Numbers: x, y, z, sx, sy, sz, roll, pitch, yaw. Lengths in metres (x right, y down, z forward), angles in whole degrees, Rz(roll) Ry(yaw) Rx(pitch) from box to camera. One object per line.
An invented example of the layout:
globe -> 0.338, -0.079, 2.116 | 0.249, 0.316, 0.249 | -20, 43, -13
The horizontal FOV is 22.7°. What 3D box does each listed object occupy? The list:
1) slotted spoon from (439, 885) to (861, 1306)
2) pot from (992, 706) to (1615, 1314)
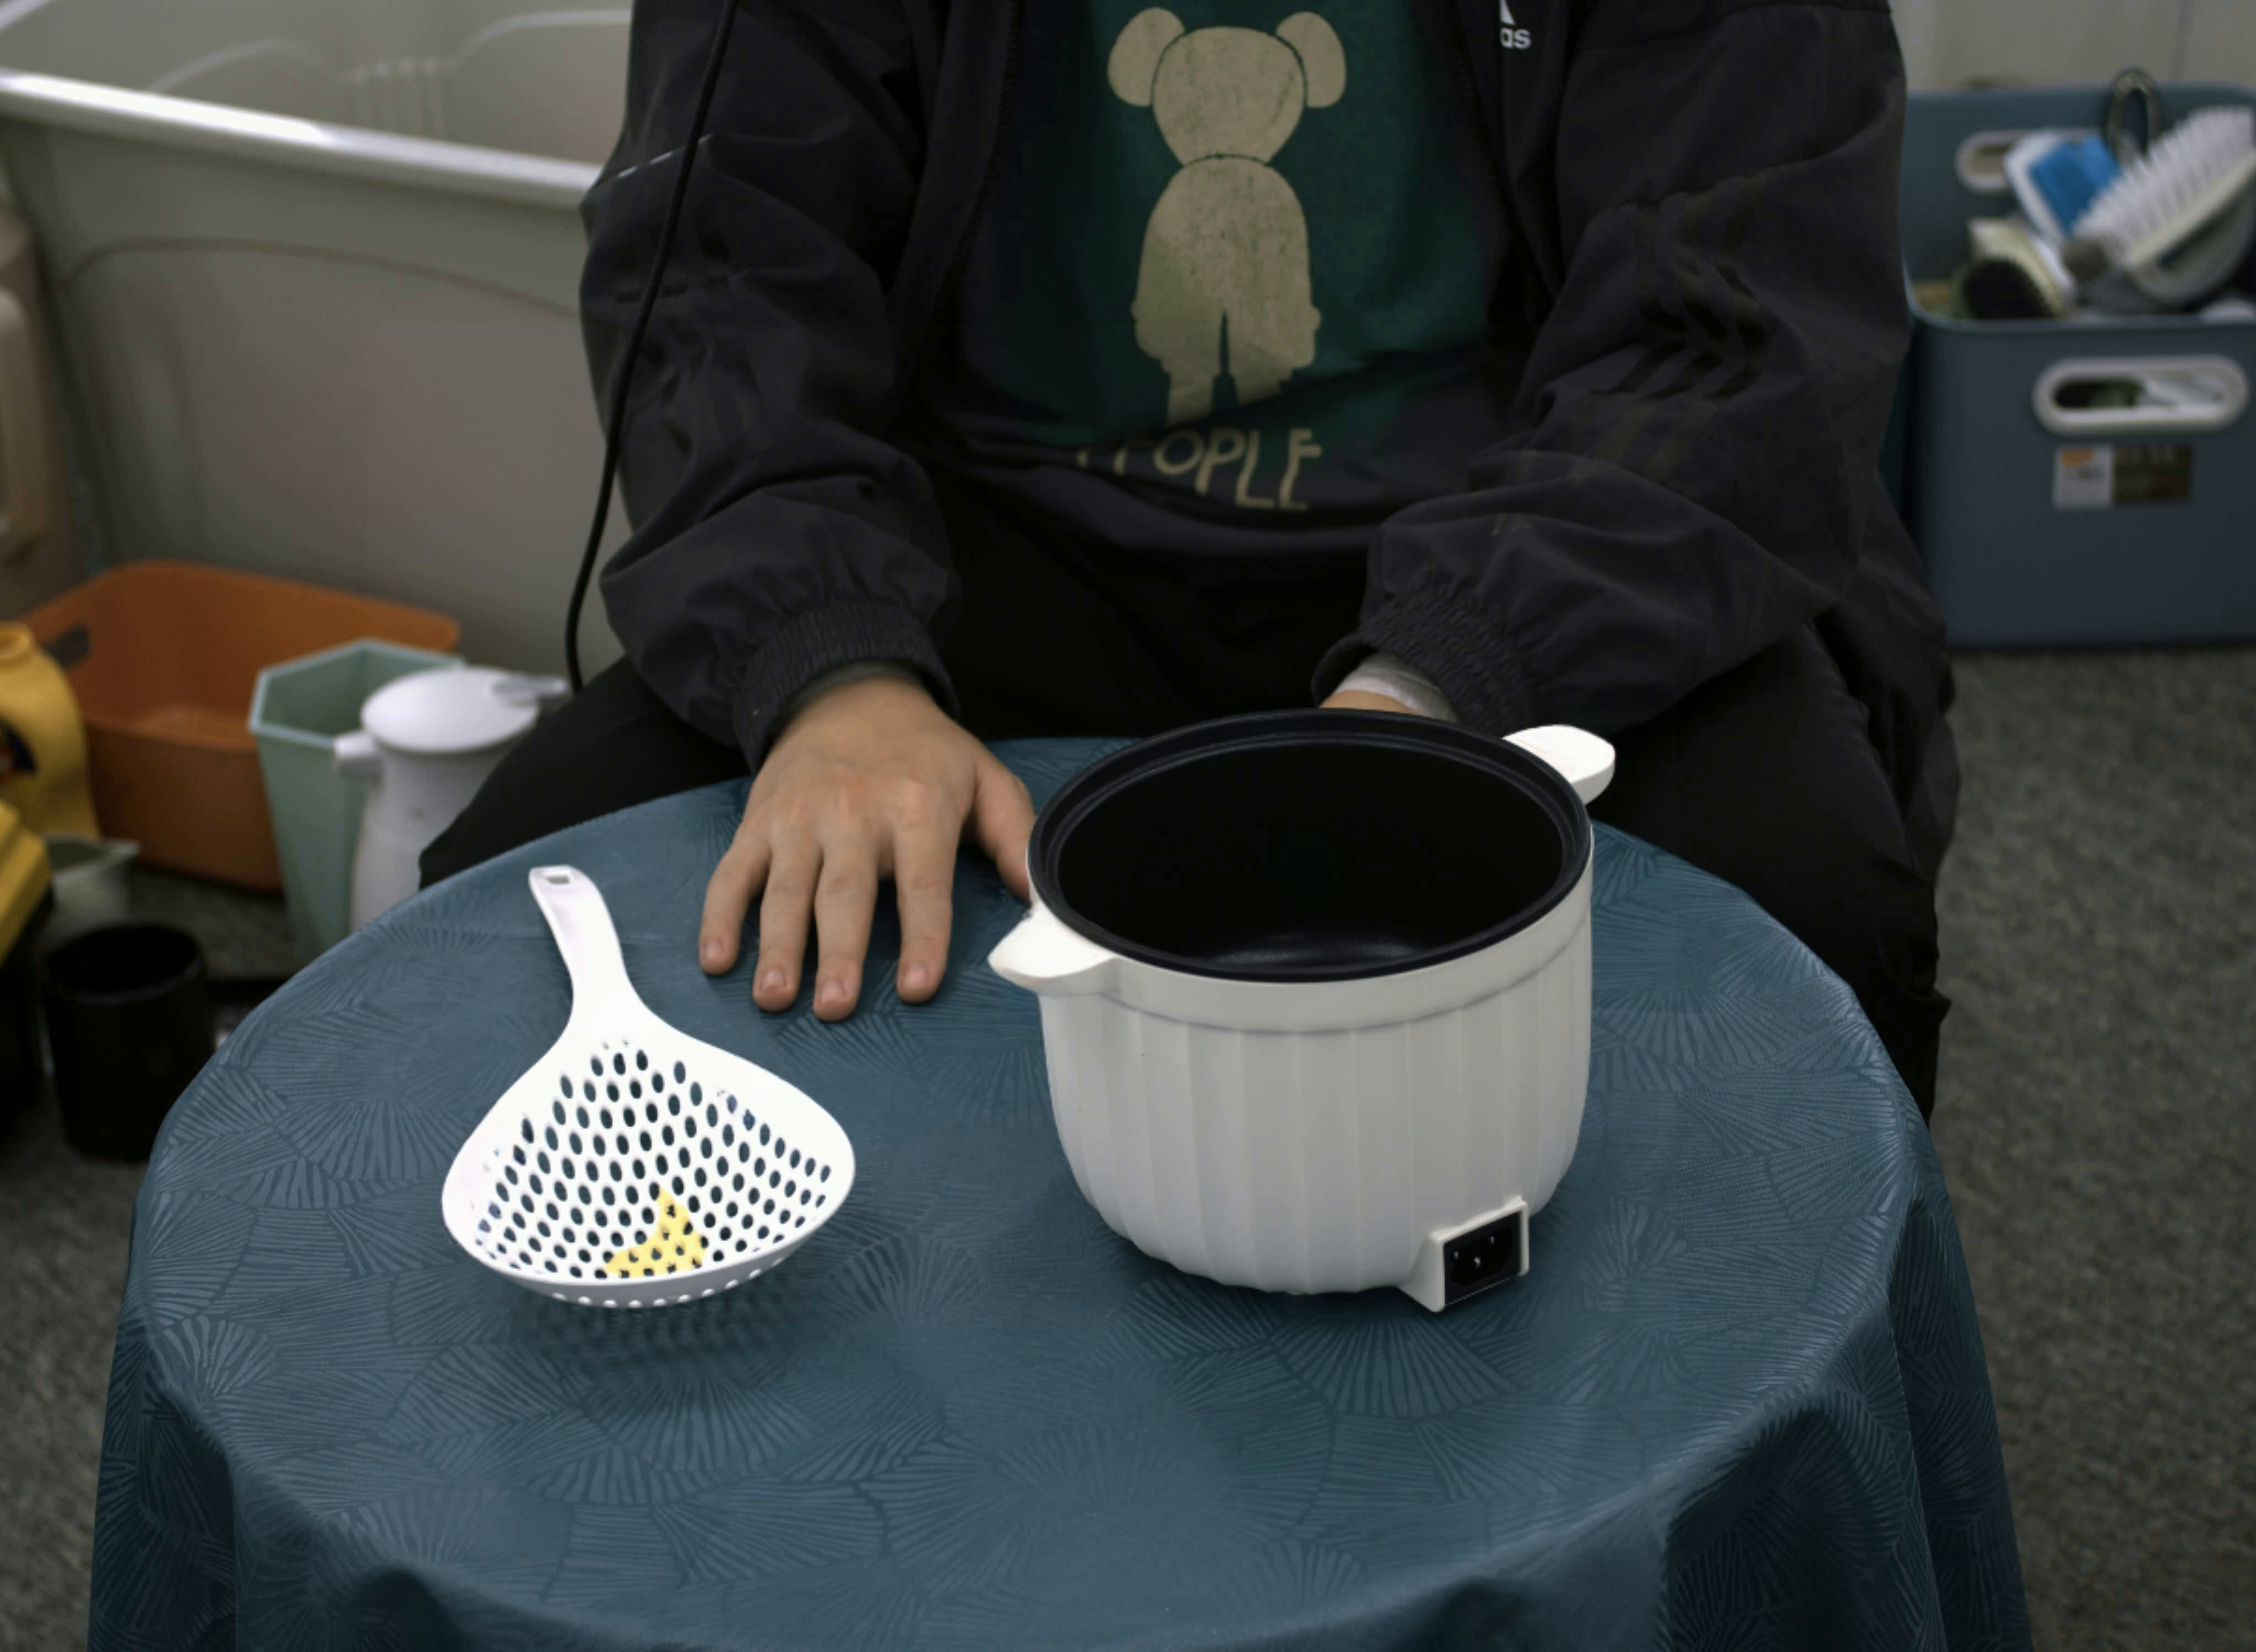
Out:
slotted spoon -> -0.176, 0.079, 1.913 | 0.136, 0.050, 0.352 | -9, 28, -9
pot -> 0.057, 0.060, 1.824 | 0.242, 0.141, 0.191 | -19, 33, -31
